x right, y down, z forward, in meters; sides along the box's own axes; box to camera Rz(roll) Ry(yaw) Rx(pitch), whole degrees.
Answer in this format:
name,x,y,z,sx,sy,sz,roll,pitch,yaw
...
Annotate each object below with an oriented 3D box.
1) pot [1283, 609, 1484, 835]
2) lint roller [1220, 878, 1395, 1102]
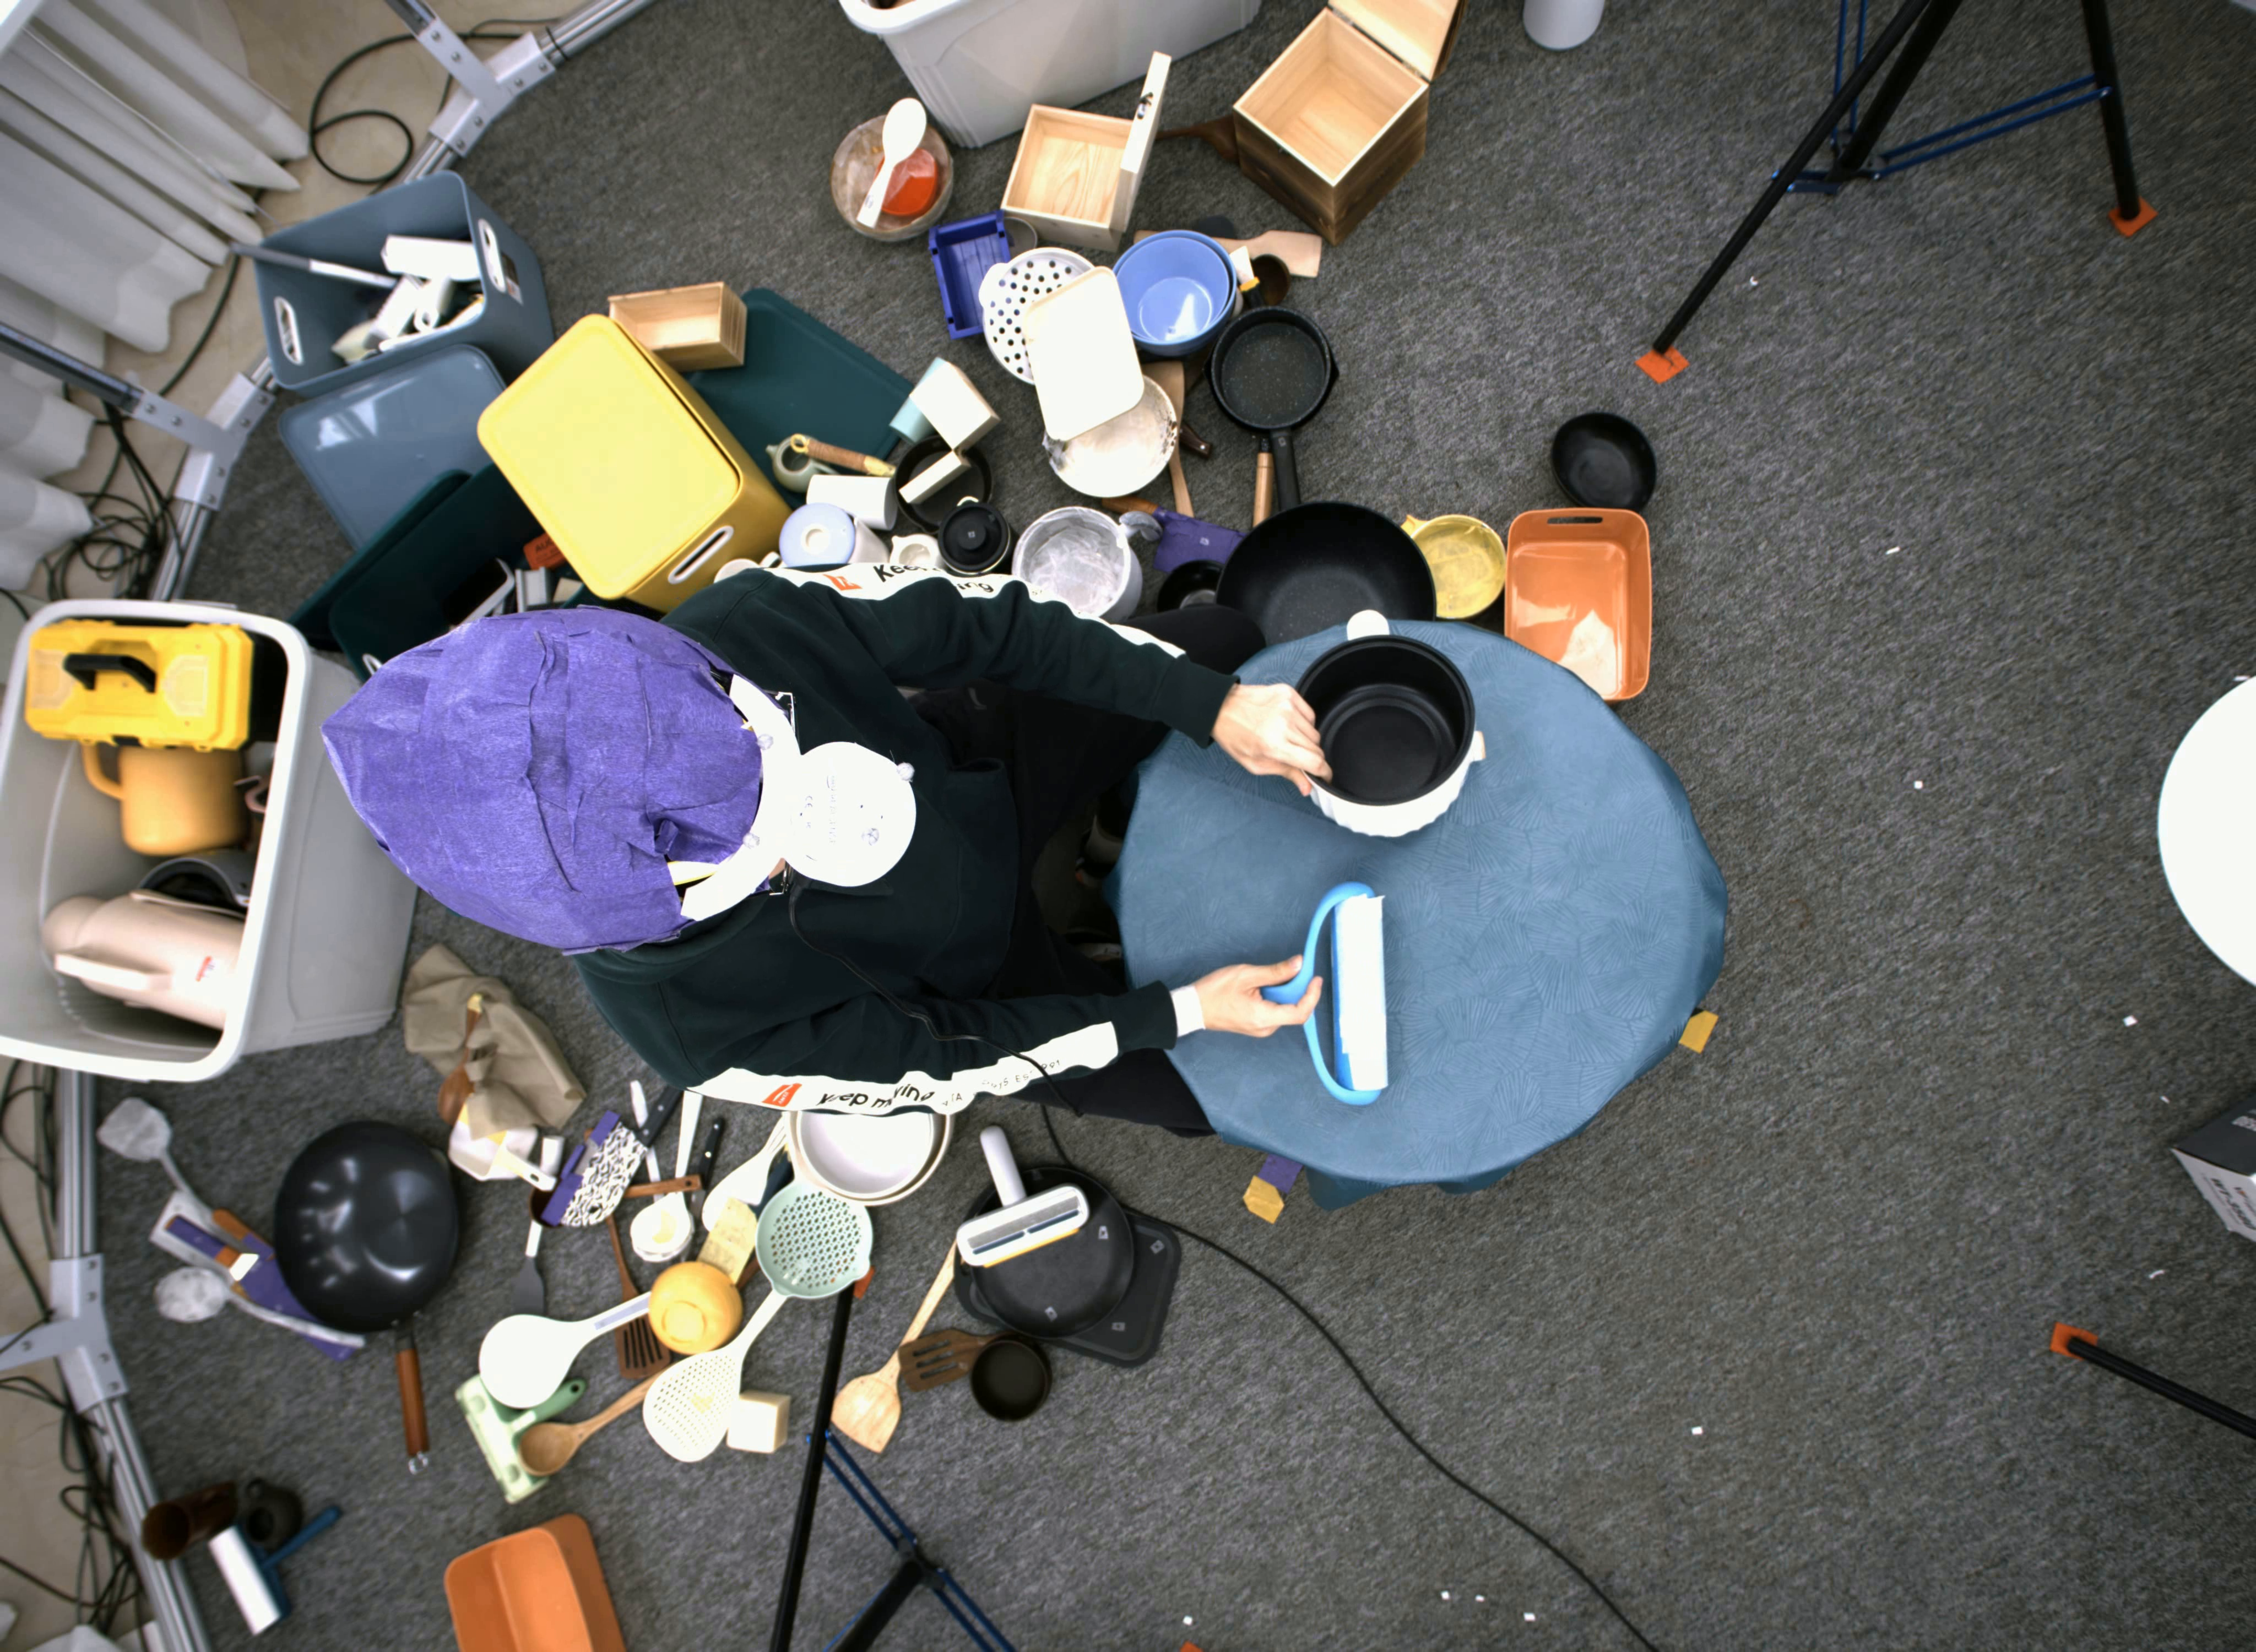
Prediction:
name,x,y,z,sx,sy,sz,roll,pitch,yaw
pot,0.260,-0.088,1.385,0.192,0.144,0.236,-10,72,13
lint roller,0.180,0.173,1.426,0.181,0.067,0.229,-7,92,13
